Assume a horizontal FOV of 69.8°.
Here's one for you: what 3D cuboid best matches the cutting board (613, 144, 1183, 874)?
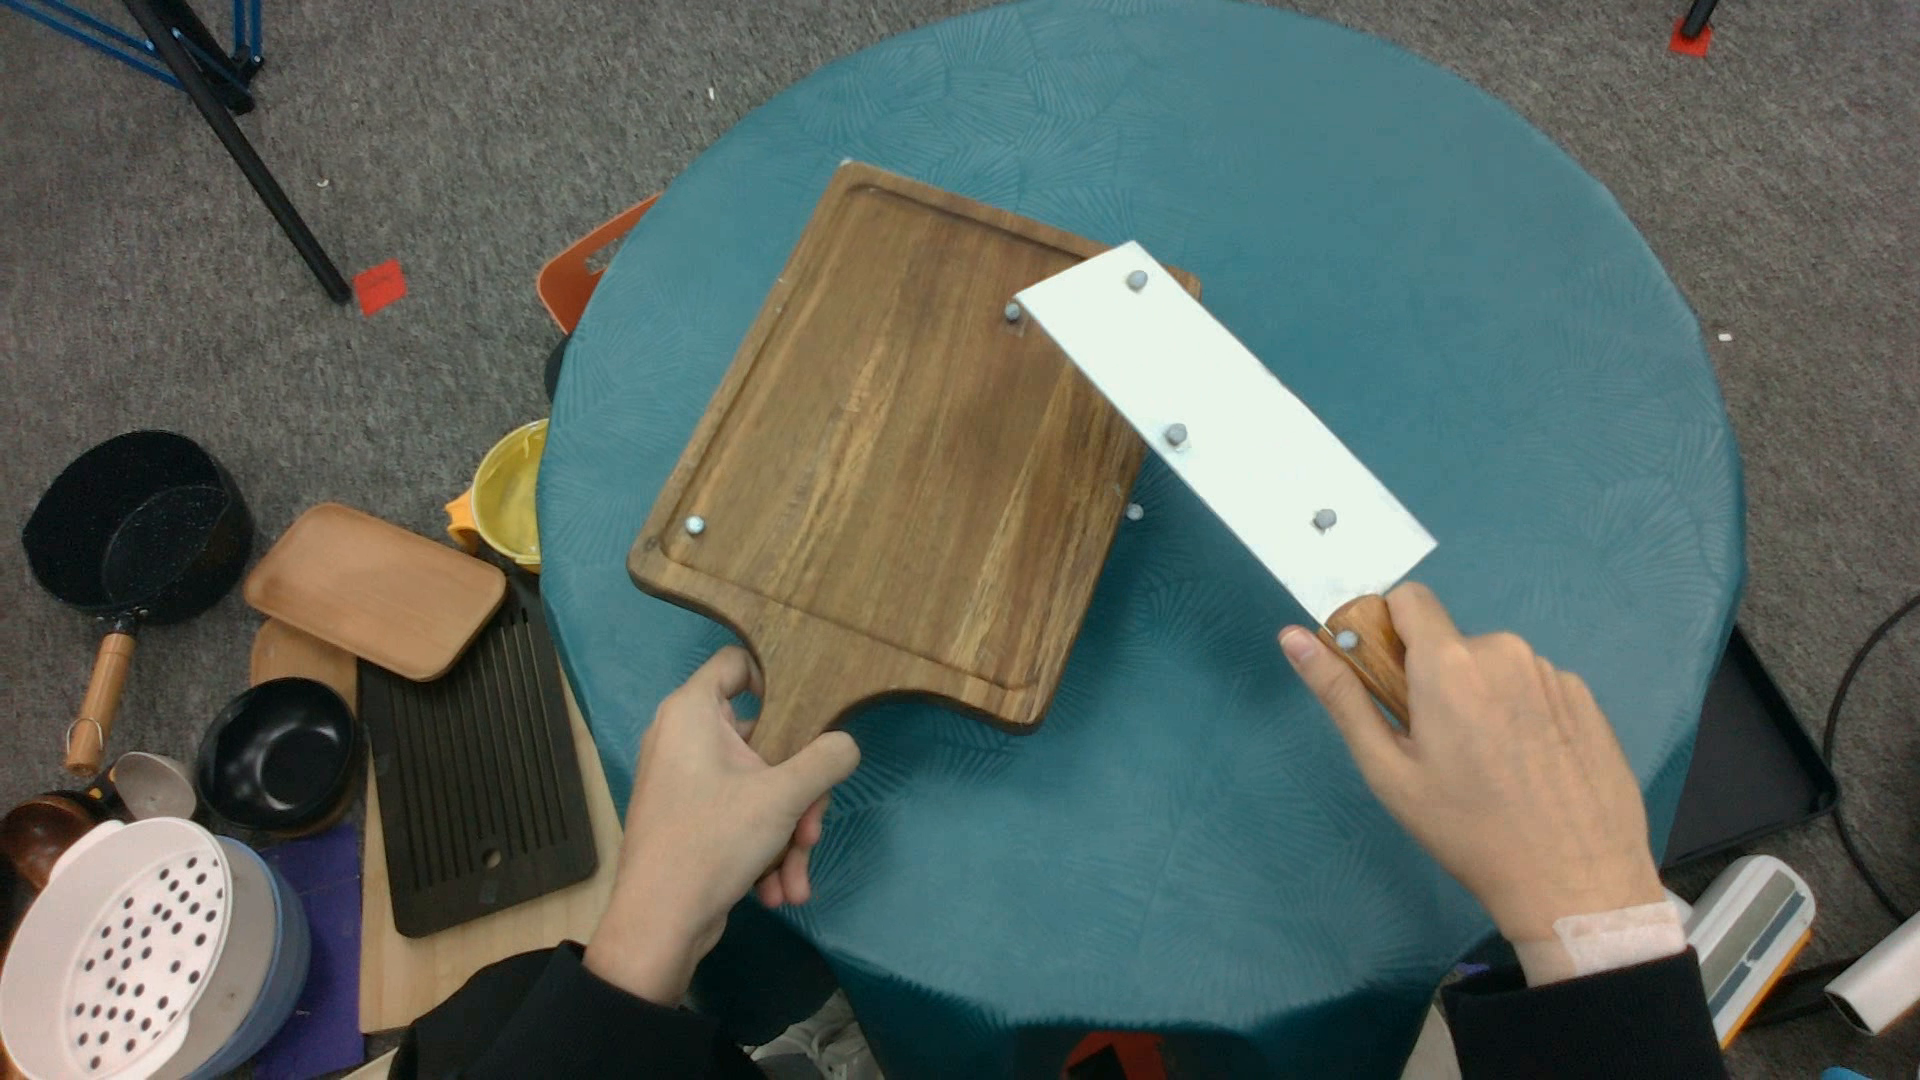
[{"bbox_3d":[-0.037,-0.020,0.622,0.201,0.023,0.353,19,66,5],"label":"cutting board"}]

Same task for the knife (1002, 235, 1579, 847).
[{"bbox_3d":[0.142,-0.013,0.562,0.306,0.021,0.093,48,48,10],"label":"knife"}]
